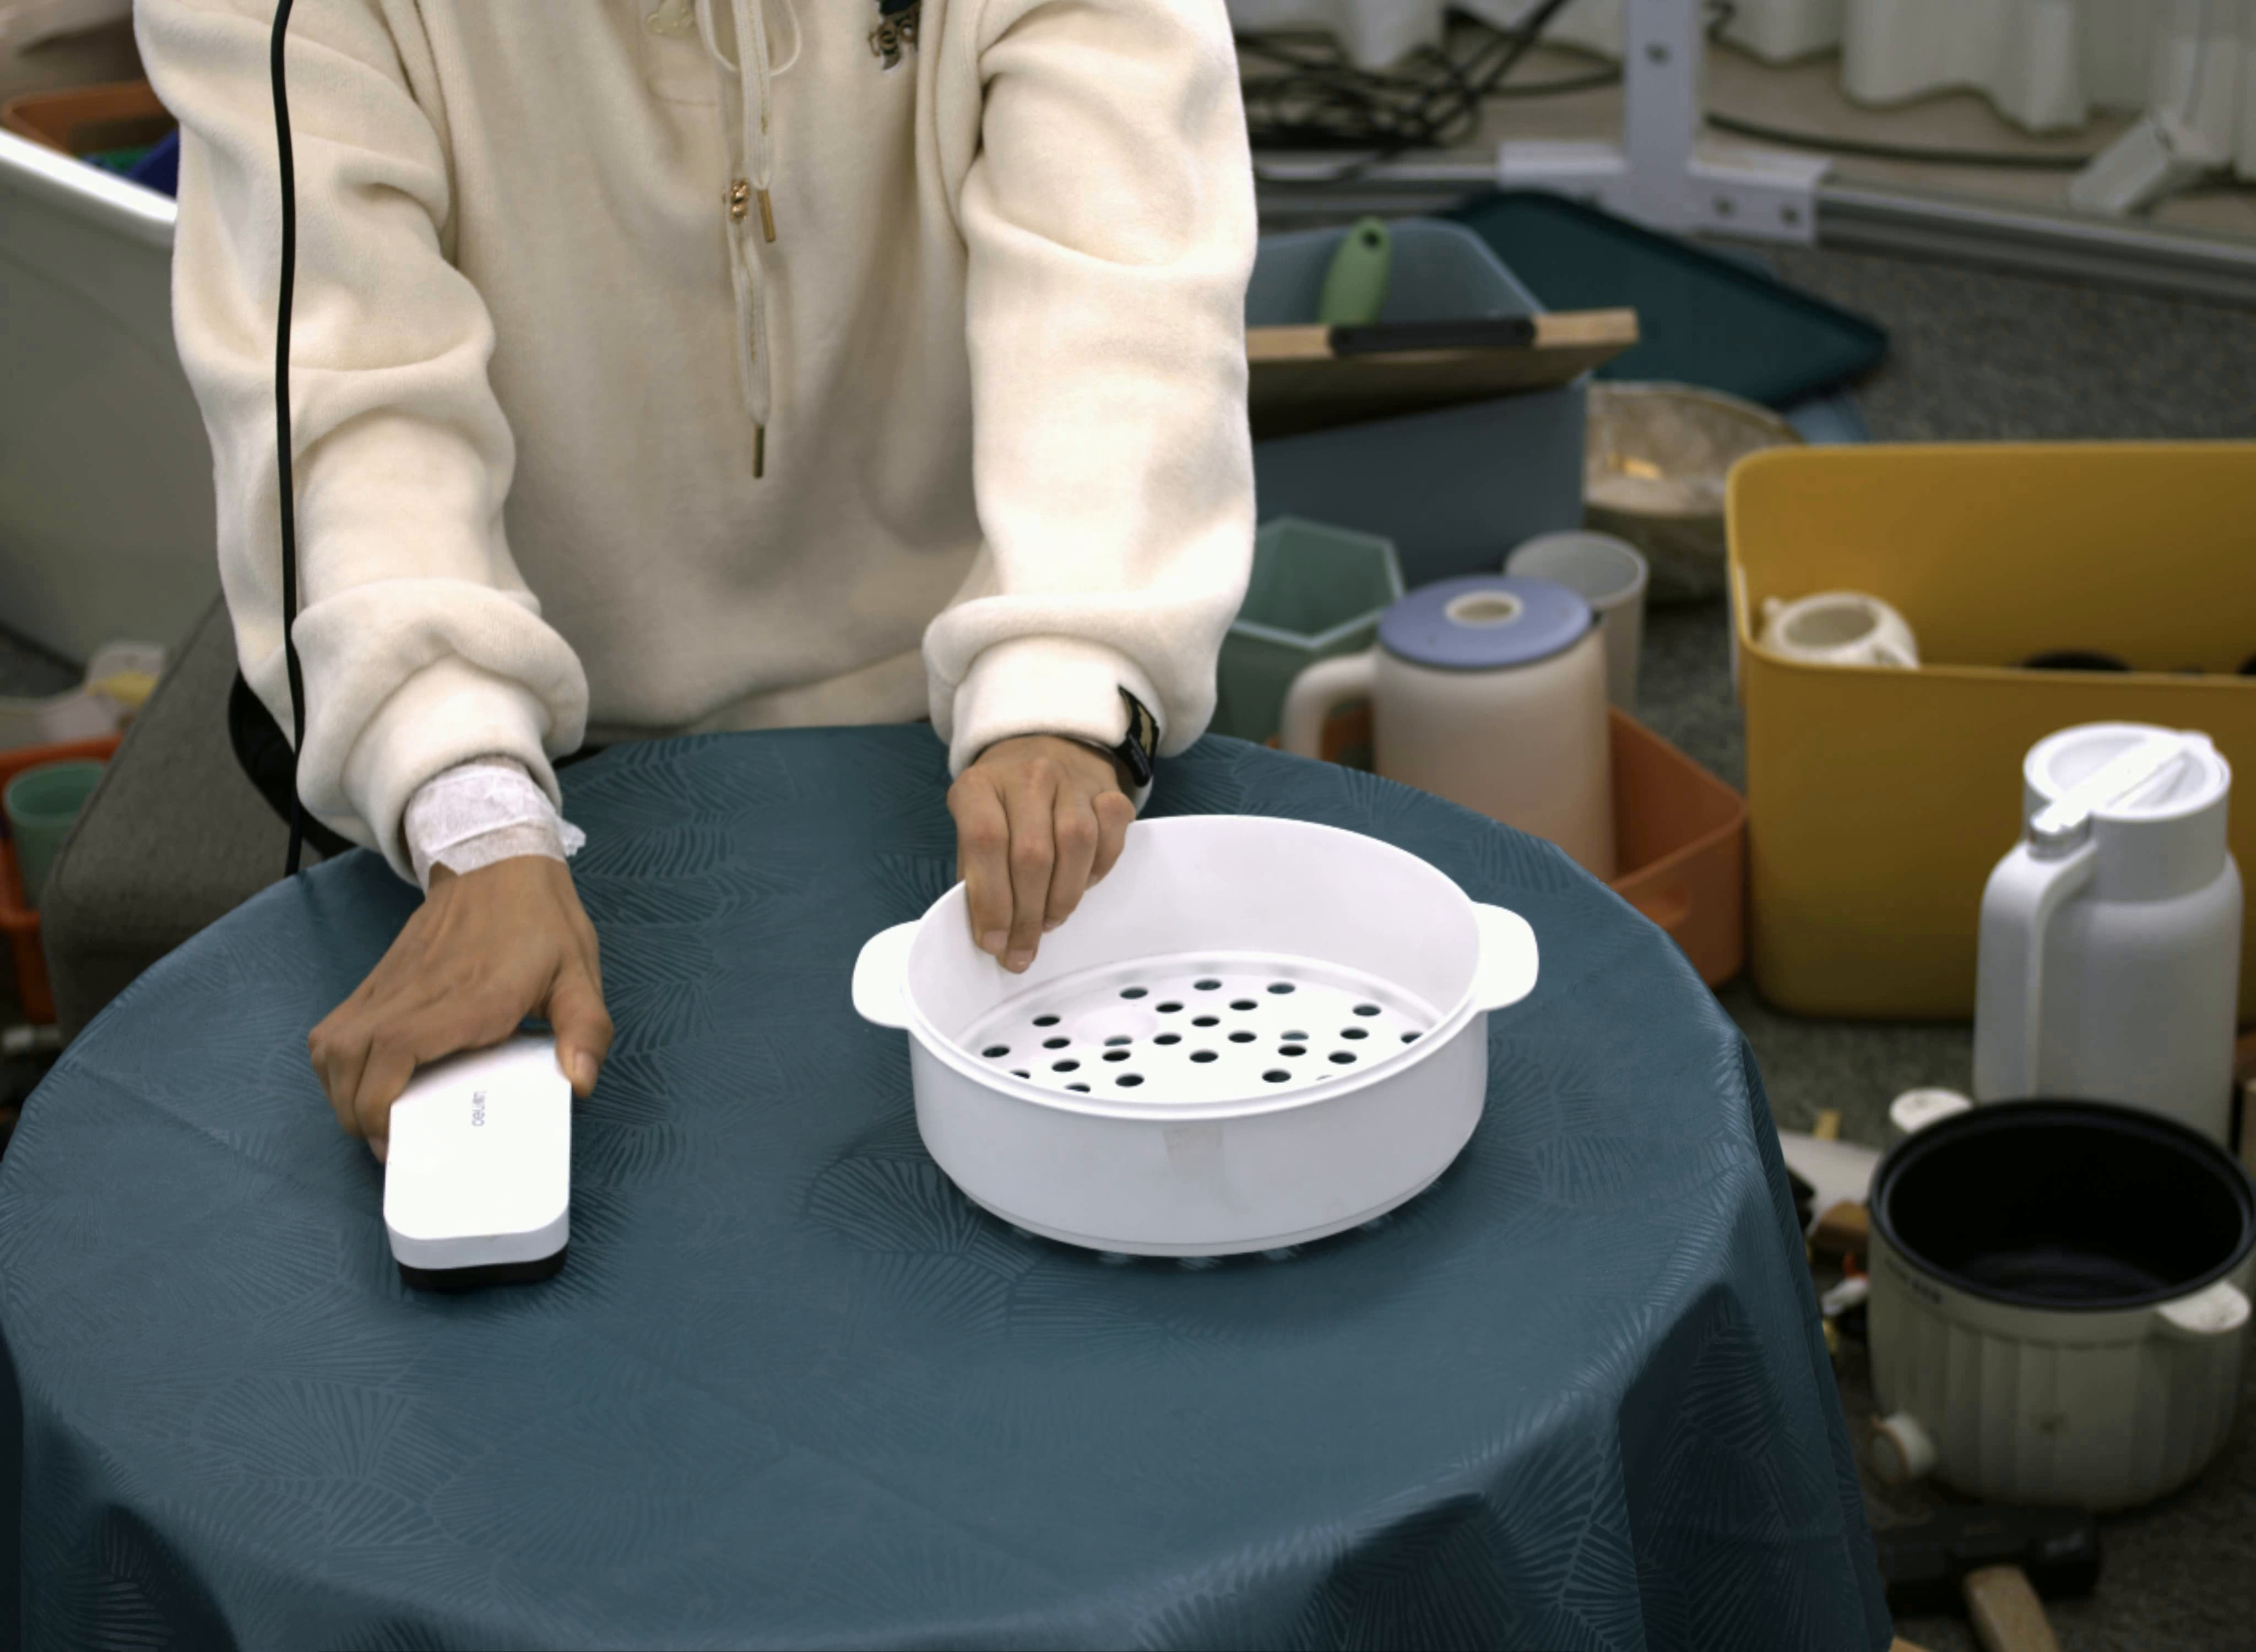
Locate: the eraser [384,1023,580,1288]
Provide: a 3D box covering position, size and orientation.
[{"bbox_3d":[-0.214,0.107,1.873,0.063,0.034,0.133,-3,29,-2],"label":"eraser"}]

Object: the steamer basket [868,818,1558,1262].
[{"bbox_3d":[0.028,0.071,1.883,0.229,0.068,0.205,0,27,1],"label":"steamer basket"}]
